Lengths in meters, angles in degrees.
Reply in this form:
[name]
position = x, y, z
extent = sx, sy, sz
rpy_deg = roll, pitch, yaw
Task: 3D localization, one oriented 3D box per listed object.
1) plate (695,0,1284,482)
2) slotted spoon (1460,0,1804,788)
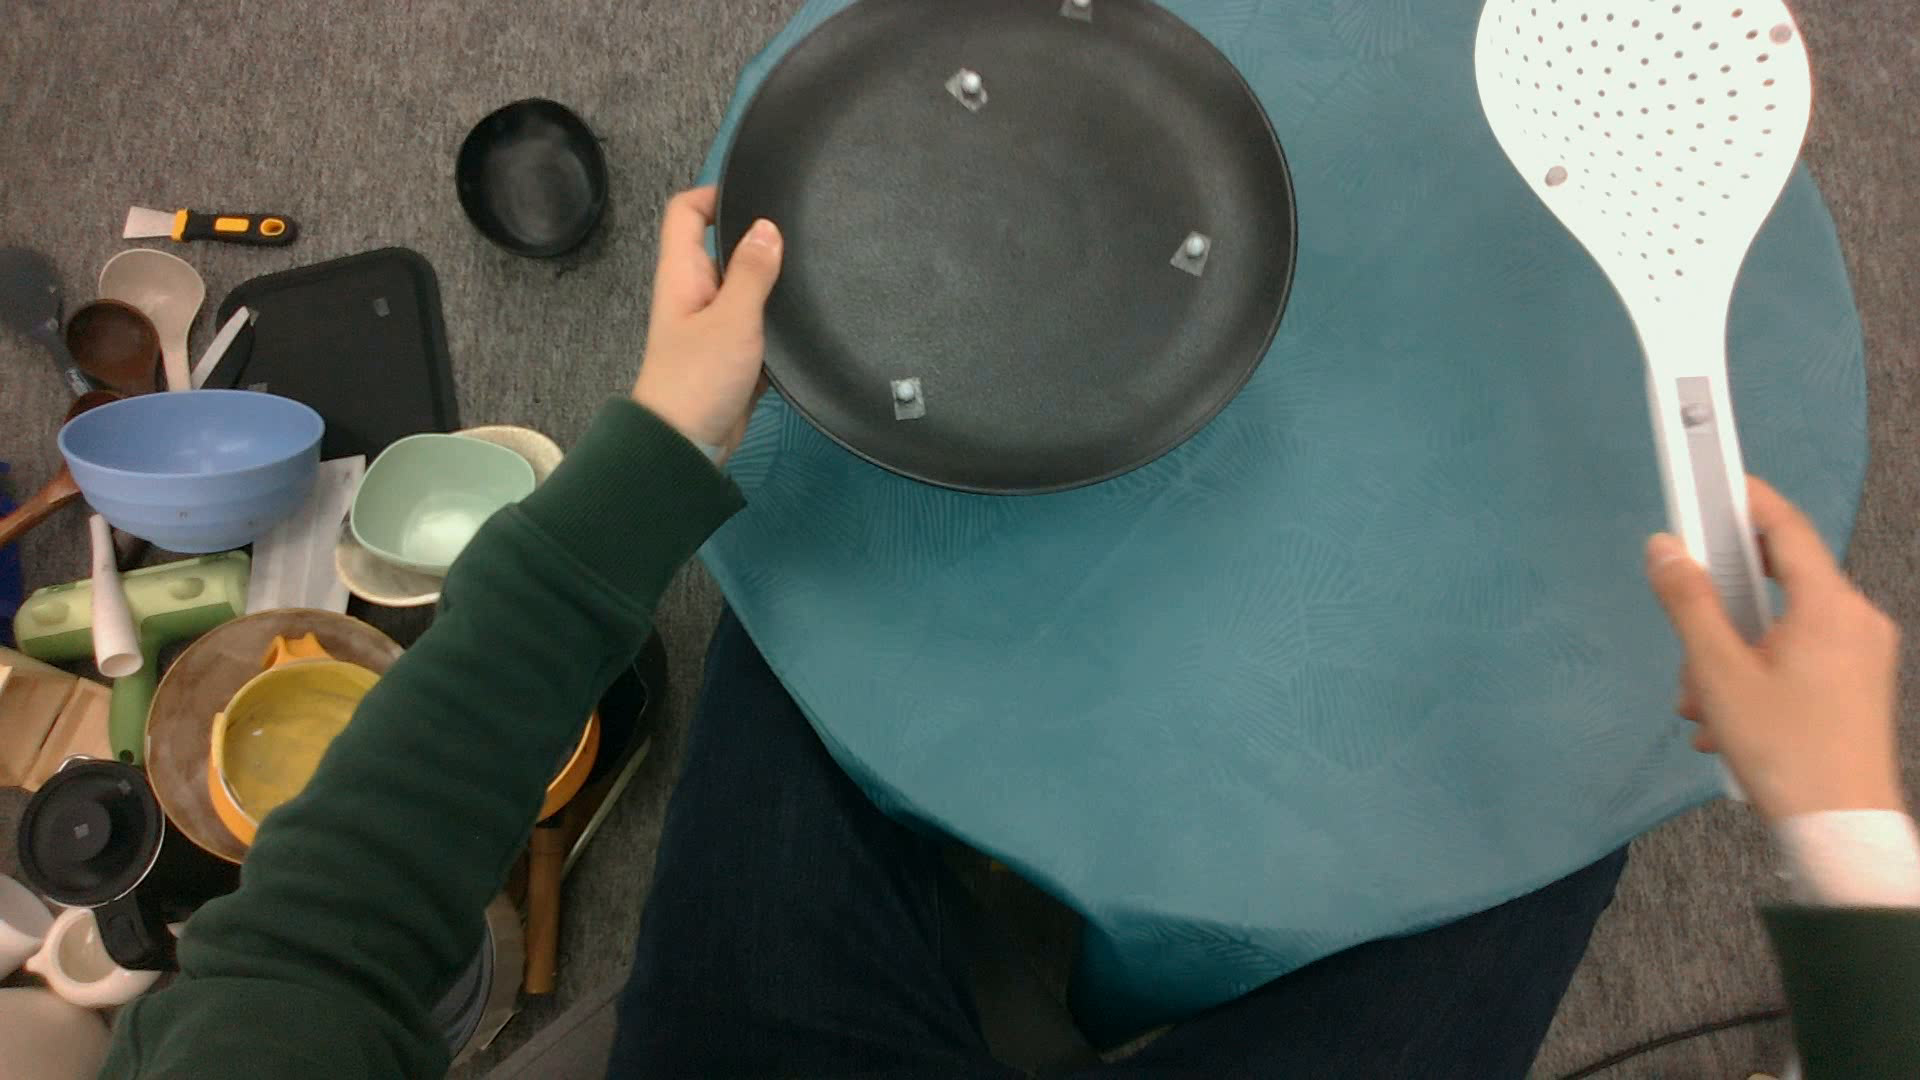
[plate]
position = 0.013, -0.139, 0.577
extent = 0.244, 0.023, 0.245
rpy_deg = 0, 77, -2
[slotted spoon]
position = 0.273, -0.083, 0.530
extent = 0.136, 0.045, 0.350
rpy_deg = -5, 78, -3
